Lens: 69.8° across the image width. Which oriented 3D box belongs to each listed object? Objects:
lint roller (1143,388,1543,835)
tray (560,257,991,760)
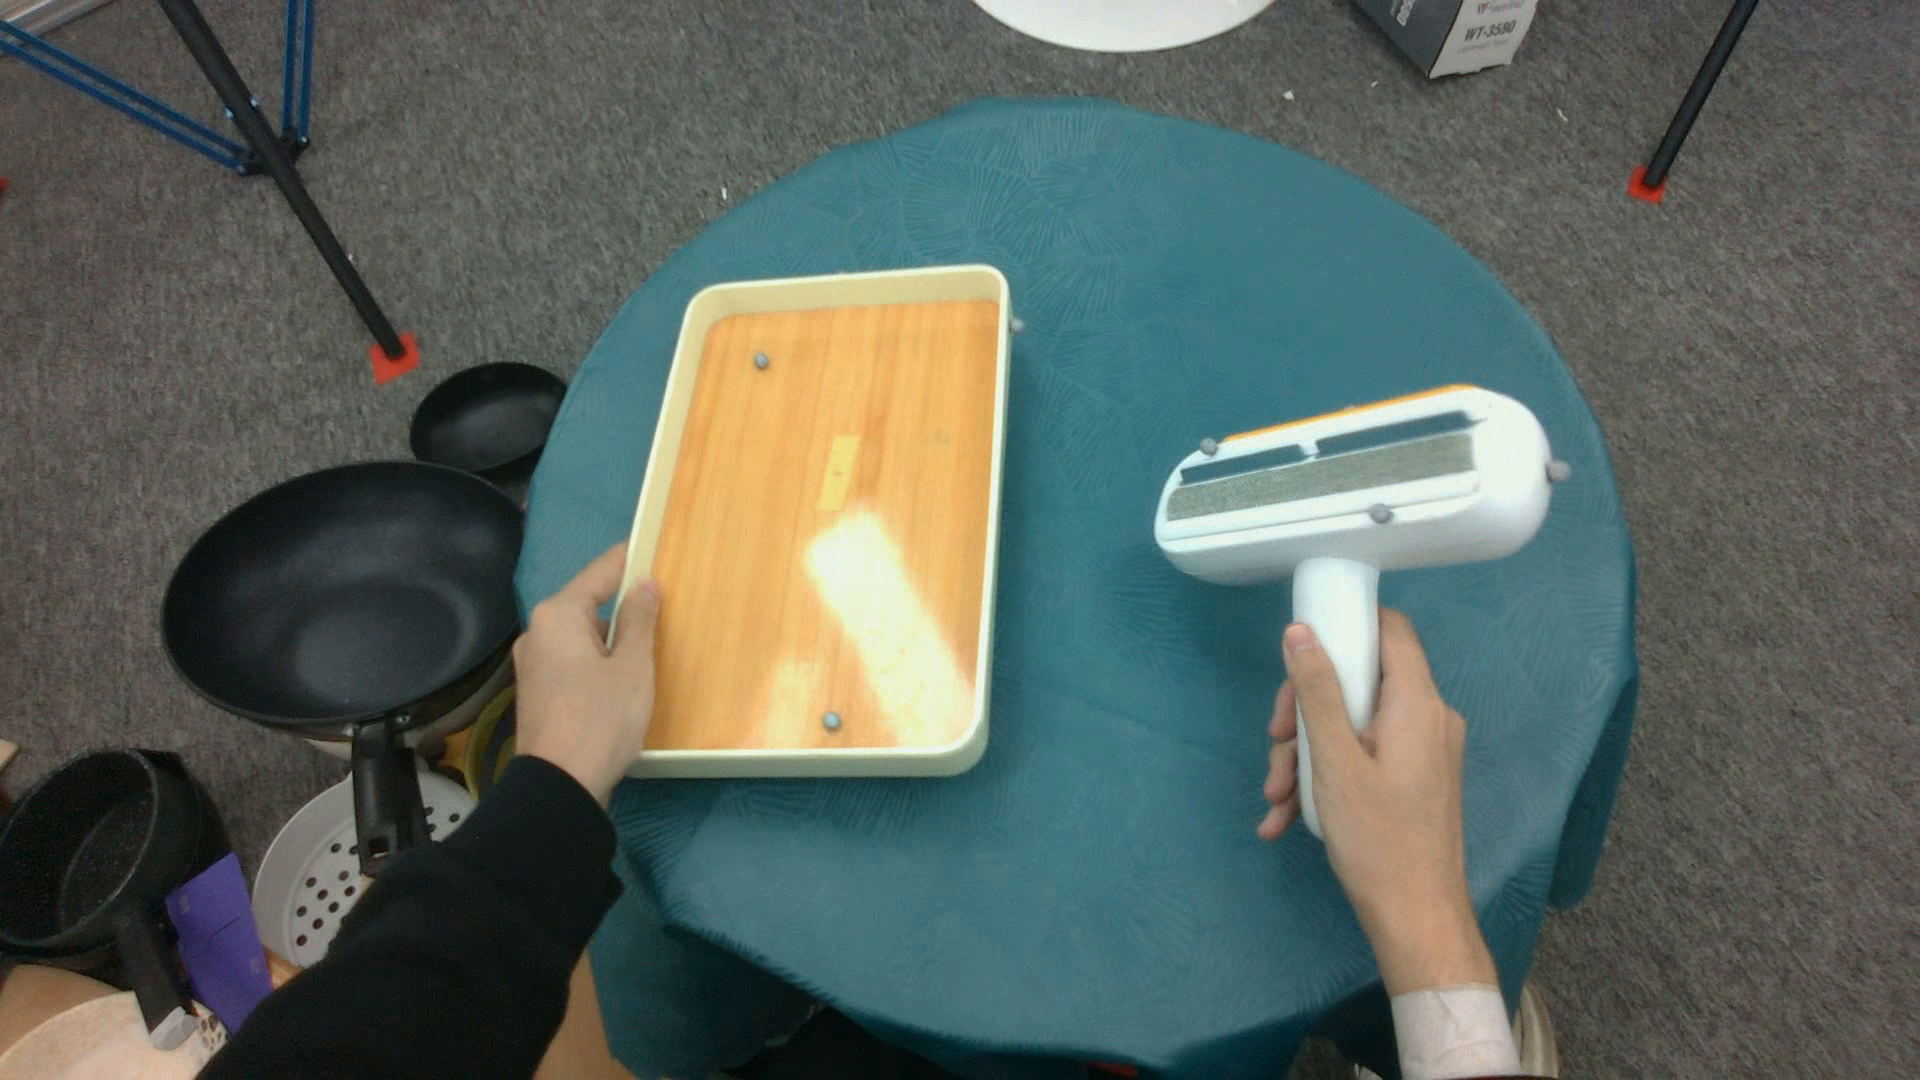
[{"bbox_3d":[0.160,0.033,0.618,0.192,0.074,0.193,-1,70,45],"label":"lint roller"},{"bbox_3d":[-0.085,-0.027,0.718,0.191,0.027,0.301,-1,56,9],"label":"tray"}]
